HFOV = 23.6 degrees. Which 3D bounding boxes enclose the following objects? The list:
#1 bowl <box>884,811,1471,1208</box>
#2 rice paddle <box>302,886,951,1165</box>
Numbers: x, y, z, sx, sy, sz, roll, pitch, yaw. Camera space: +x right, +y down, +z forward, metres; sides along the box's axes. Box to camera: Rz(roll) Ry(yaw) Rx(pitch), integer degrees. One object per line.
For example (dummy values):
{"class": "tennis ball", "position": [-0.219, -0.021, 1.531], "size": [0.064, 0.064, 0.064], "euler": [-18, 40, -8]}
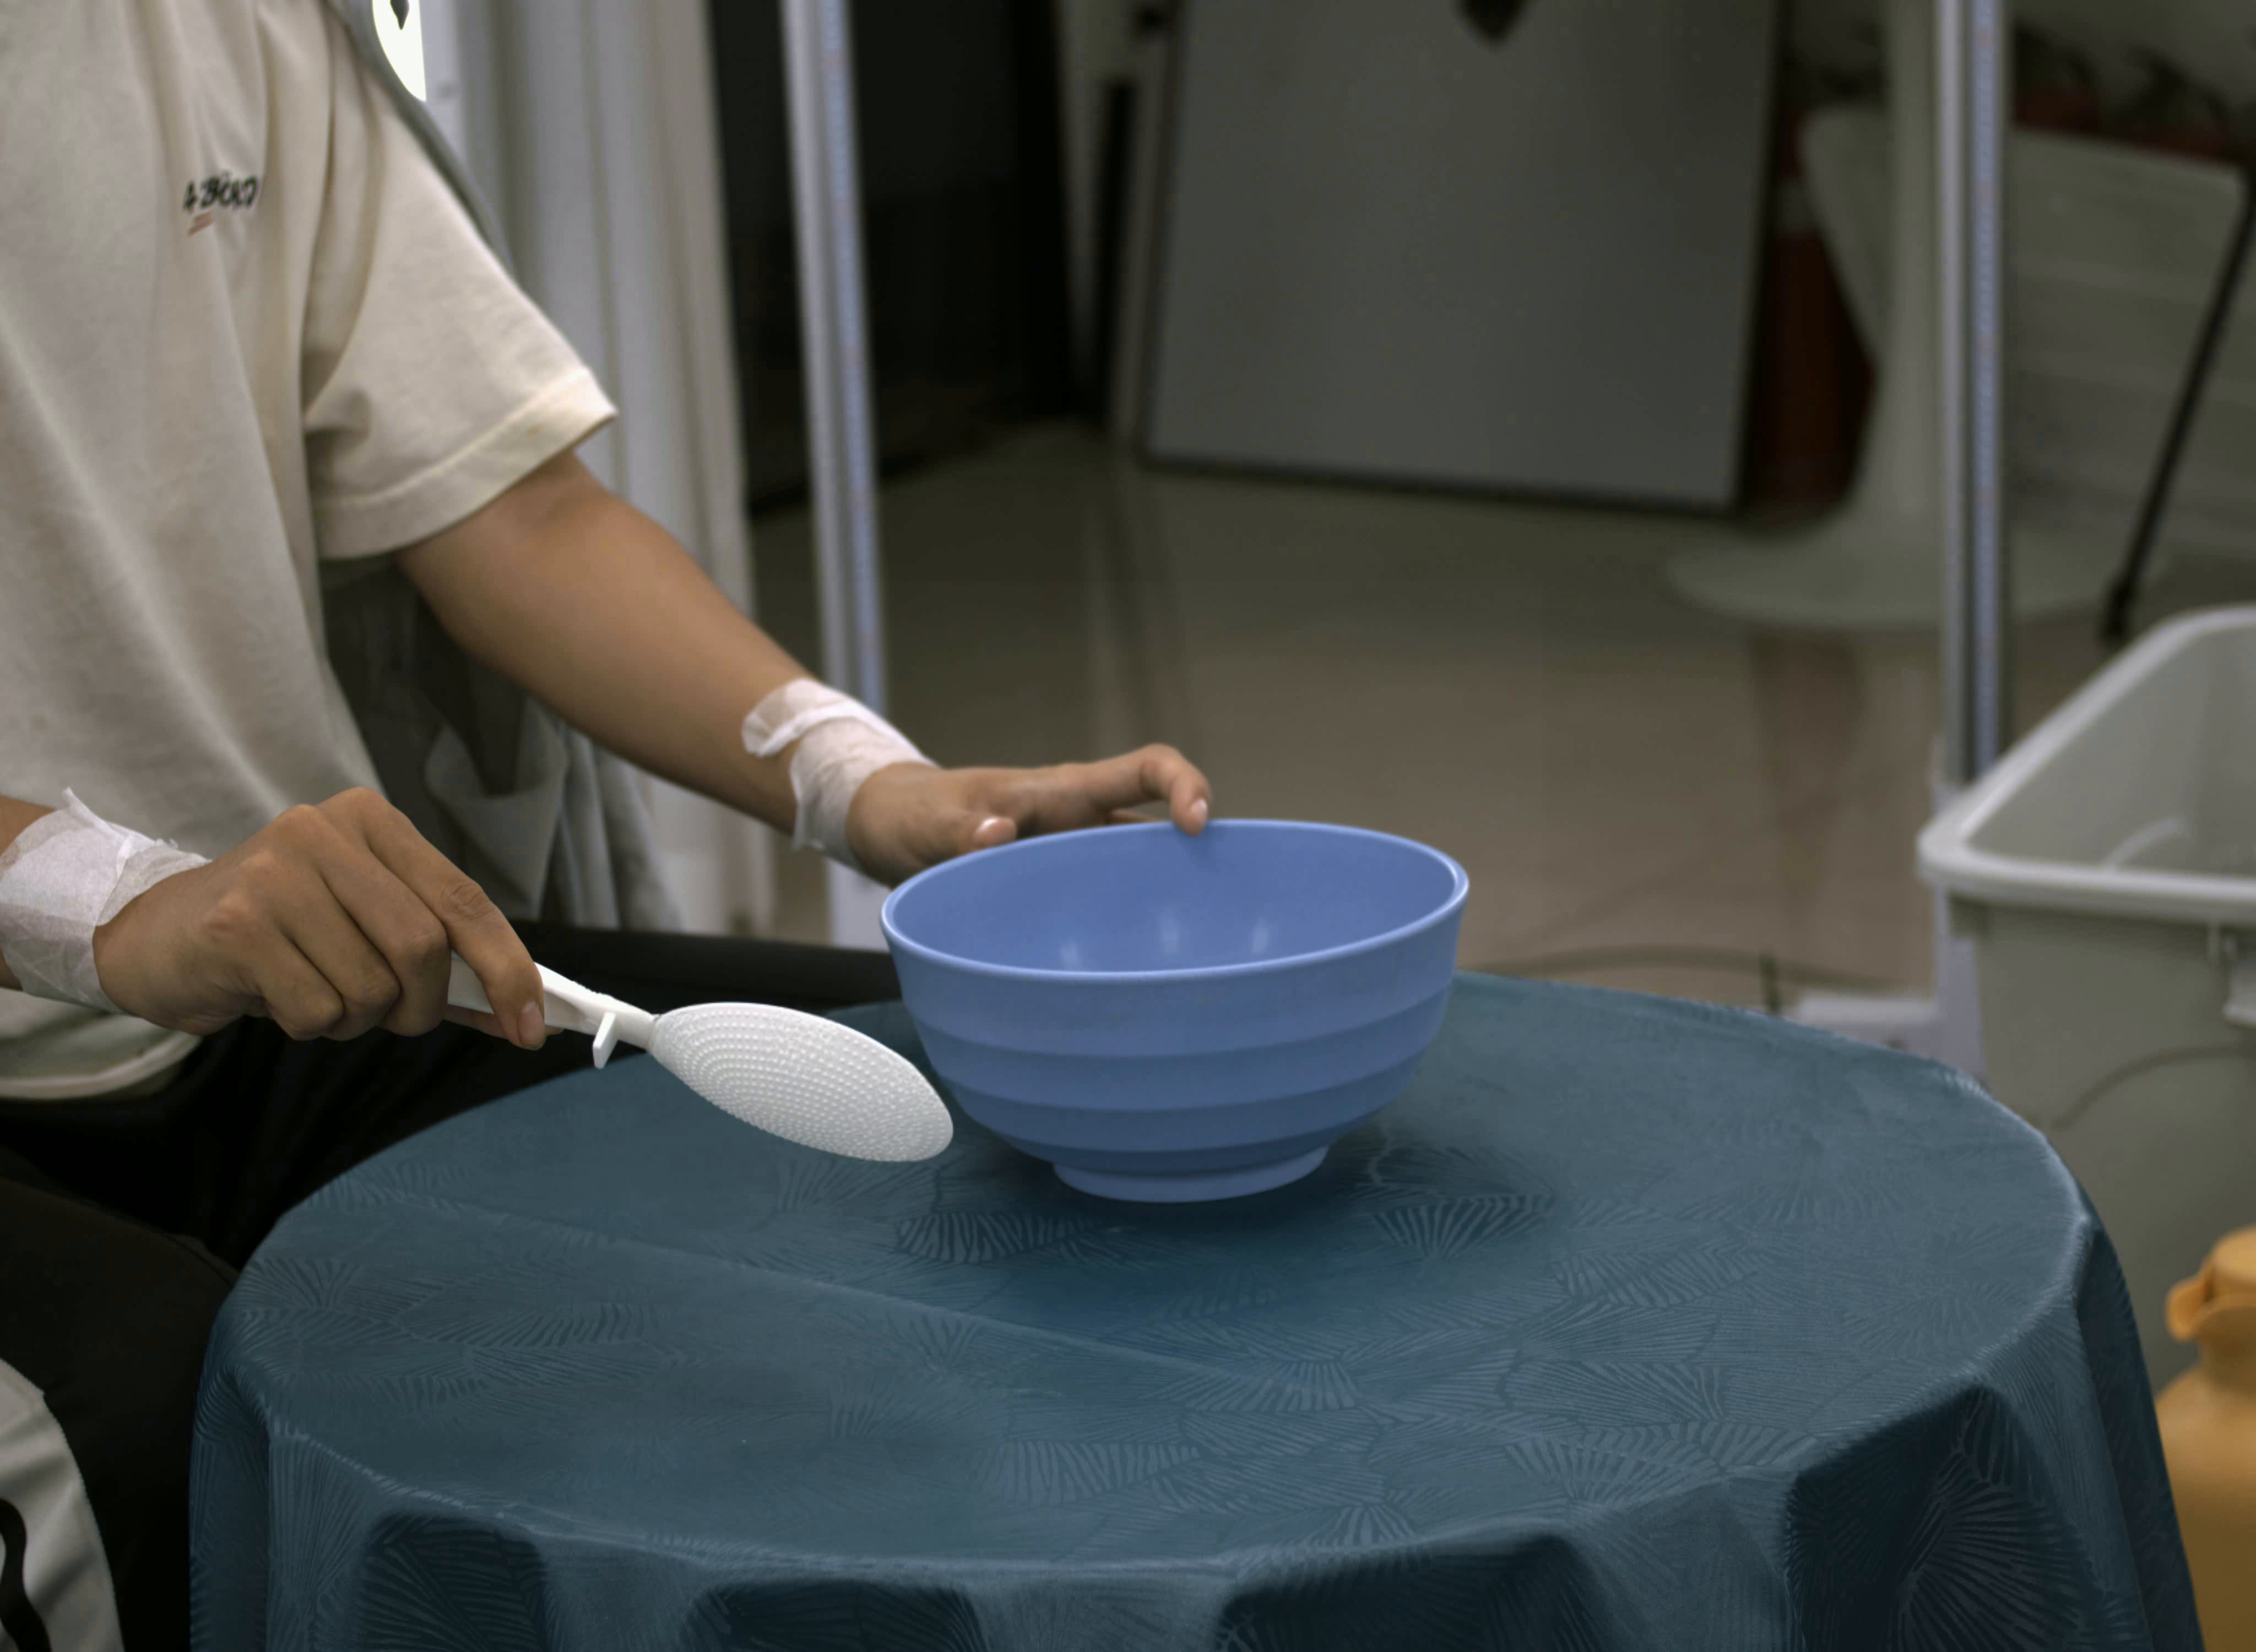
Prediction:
{"class": "bowl", "position": [0.018, 0.067, 1.790], "size": [0.194, 0.096, 0.197], "euler": [-3, 15, 0]}
{"class": "rice paddle", "position": [-0.147, 0.060, 1.609], "size": [0.204, 0.069, 0.029], "euler": [16, 54, 12]}
